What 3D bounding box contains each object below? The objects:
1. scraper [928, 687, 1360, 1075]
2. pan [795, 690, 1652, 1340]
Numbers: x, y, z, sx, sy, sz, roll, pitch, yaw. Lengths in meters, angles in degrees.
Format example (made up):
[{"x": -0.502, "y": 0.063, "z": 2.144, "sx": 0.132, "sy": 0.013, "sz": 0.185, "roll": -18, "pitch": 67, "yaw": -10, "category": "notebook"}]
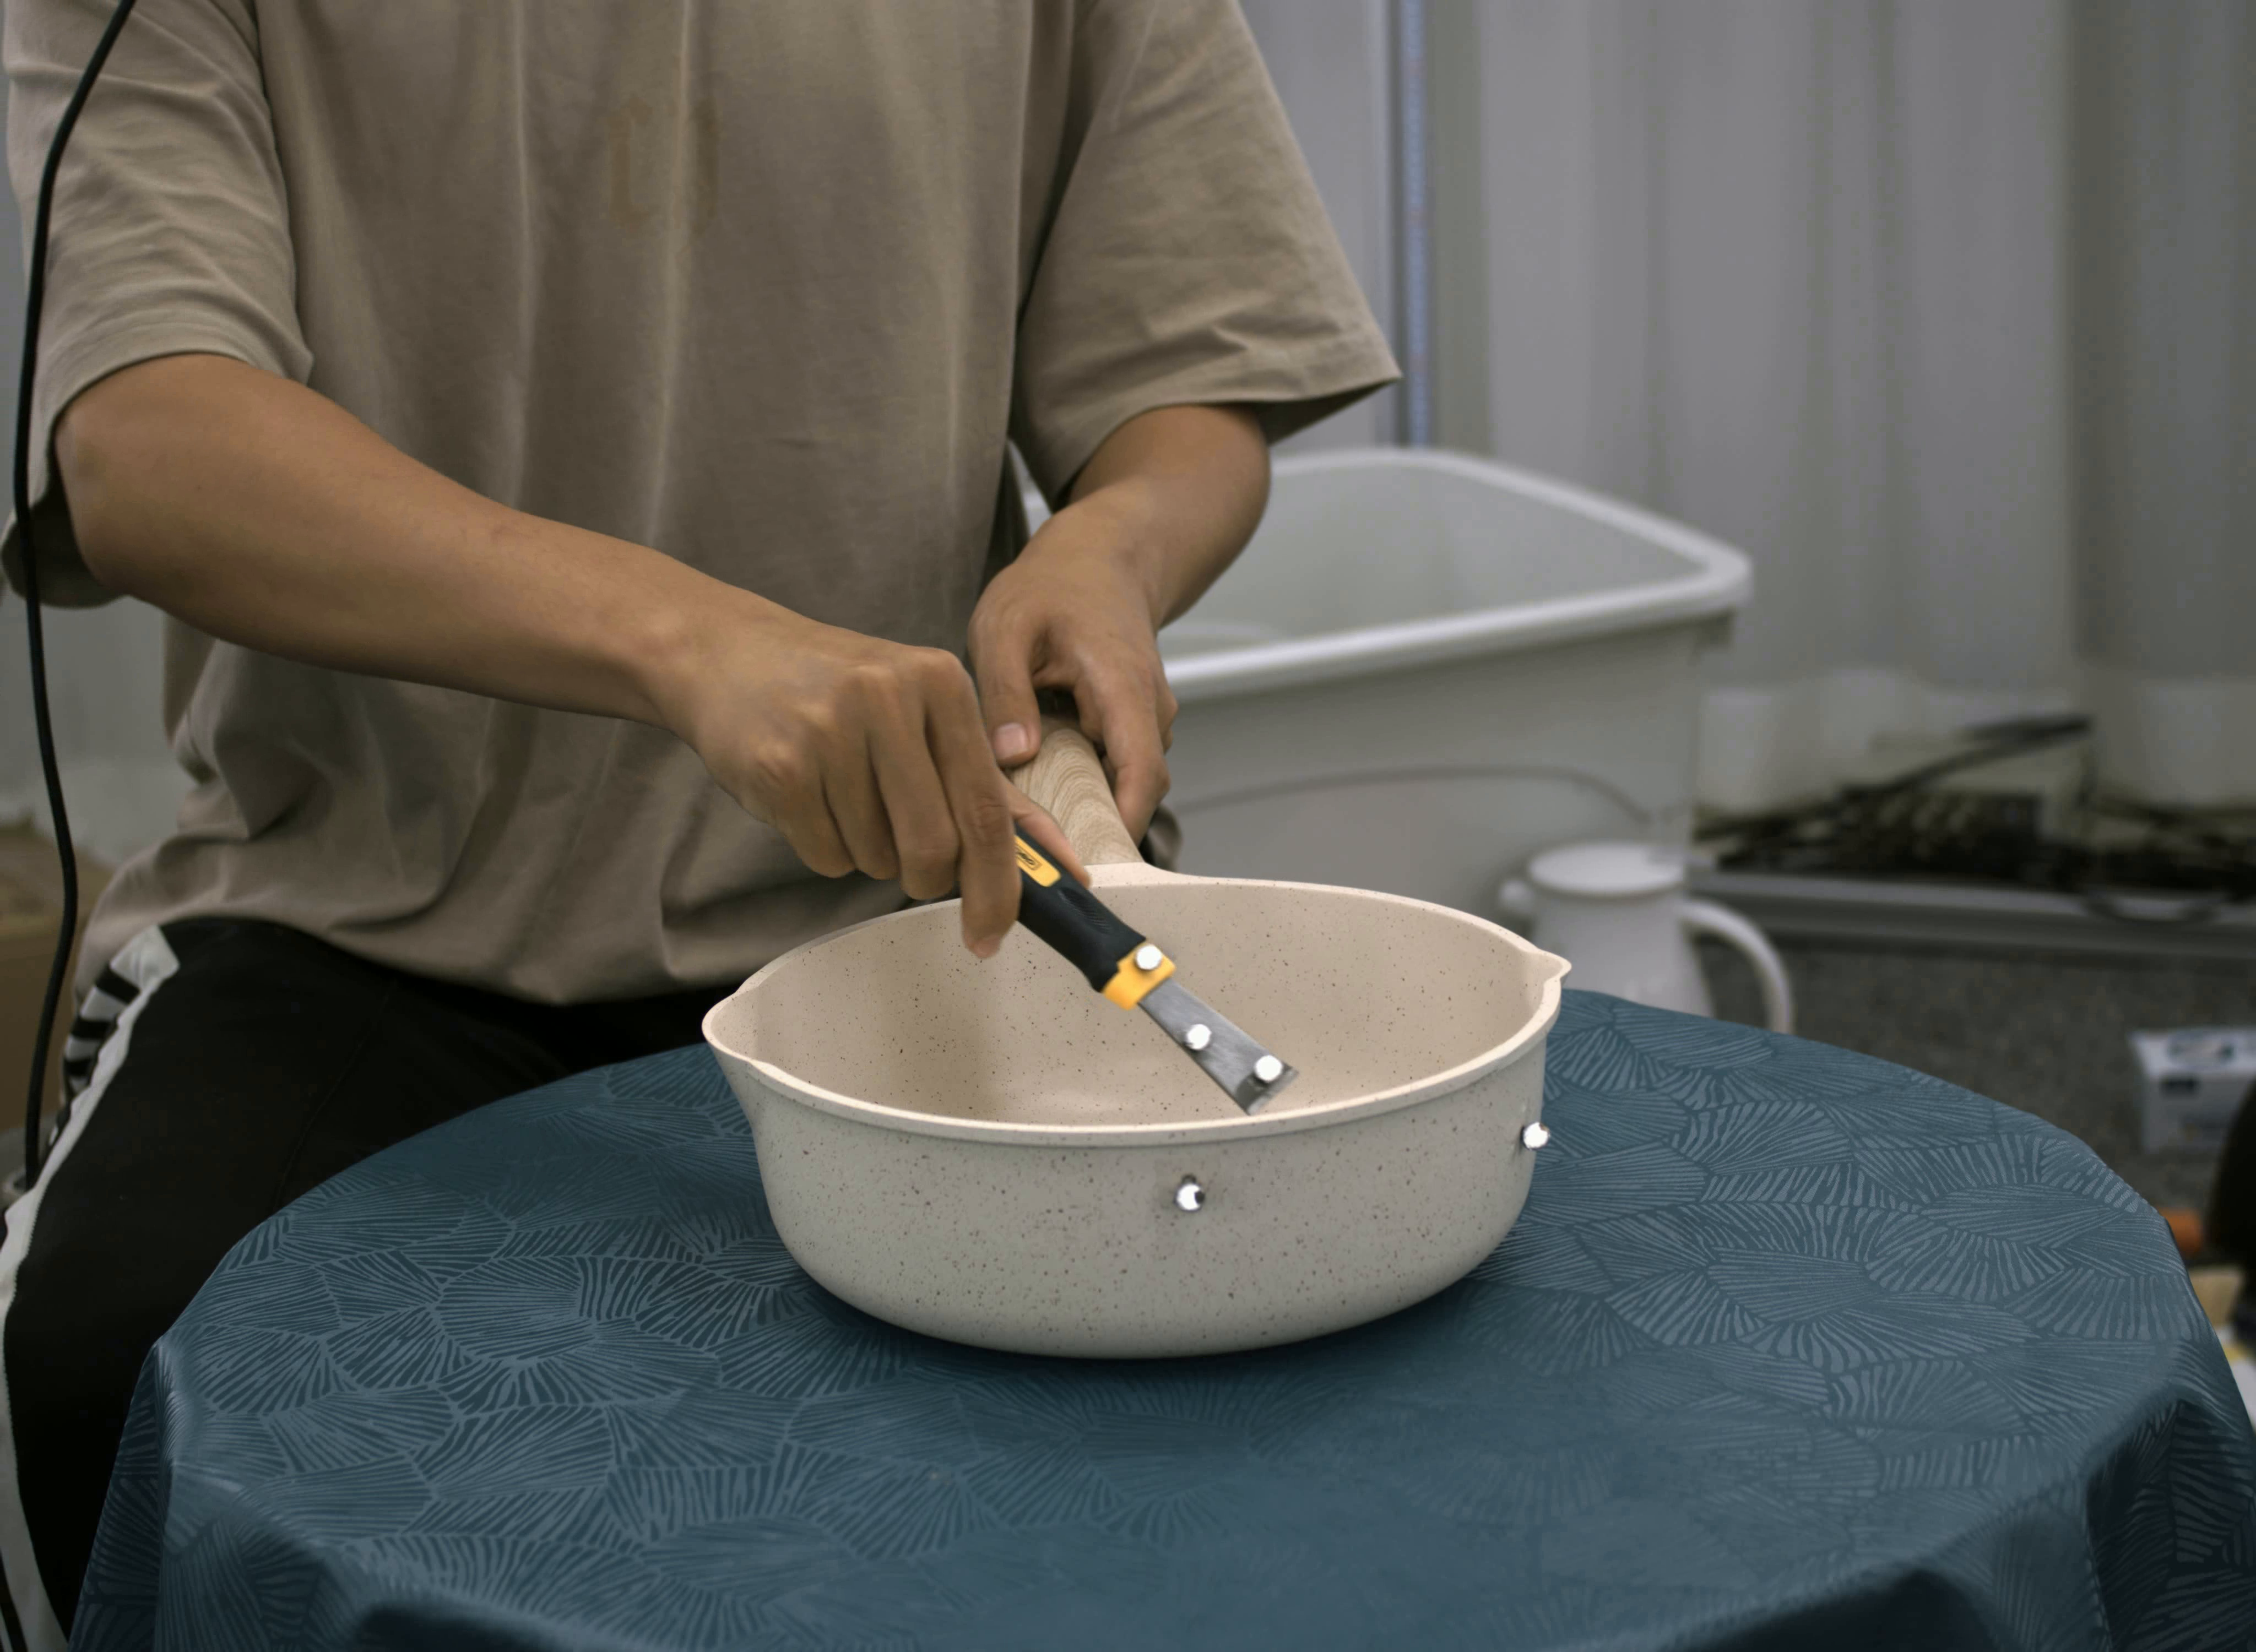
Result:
[{"x": 0.004, "y": 0.021, "z": 1.673, "sx": 0.015, "sy": 0.171, "sz": 0.039, "roll": -45, "pitch": 2, "yaw": 35, "category": "scraper"}, {"x": 0.020, "y": 0.054, "z": 1.740, "sx": 0.262, "sy": 0.101, "sz": 0.438, "roll": -7, "pitch": 15, "yaw": -6, "category": "pan"}]
